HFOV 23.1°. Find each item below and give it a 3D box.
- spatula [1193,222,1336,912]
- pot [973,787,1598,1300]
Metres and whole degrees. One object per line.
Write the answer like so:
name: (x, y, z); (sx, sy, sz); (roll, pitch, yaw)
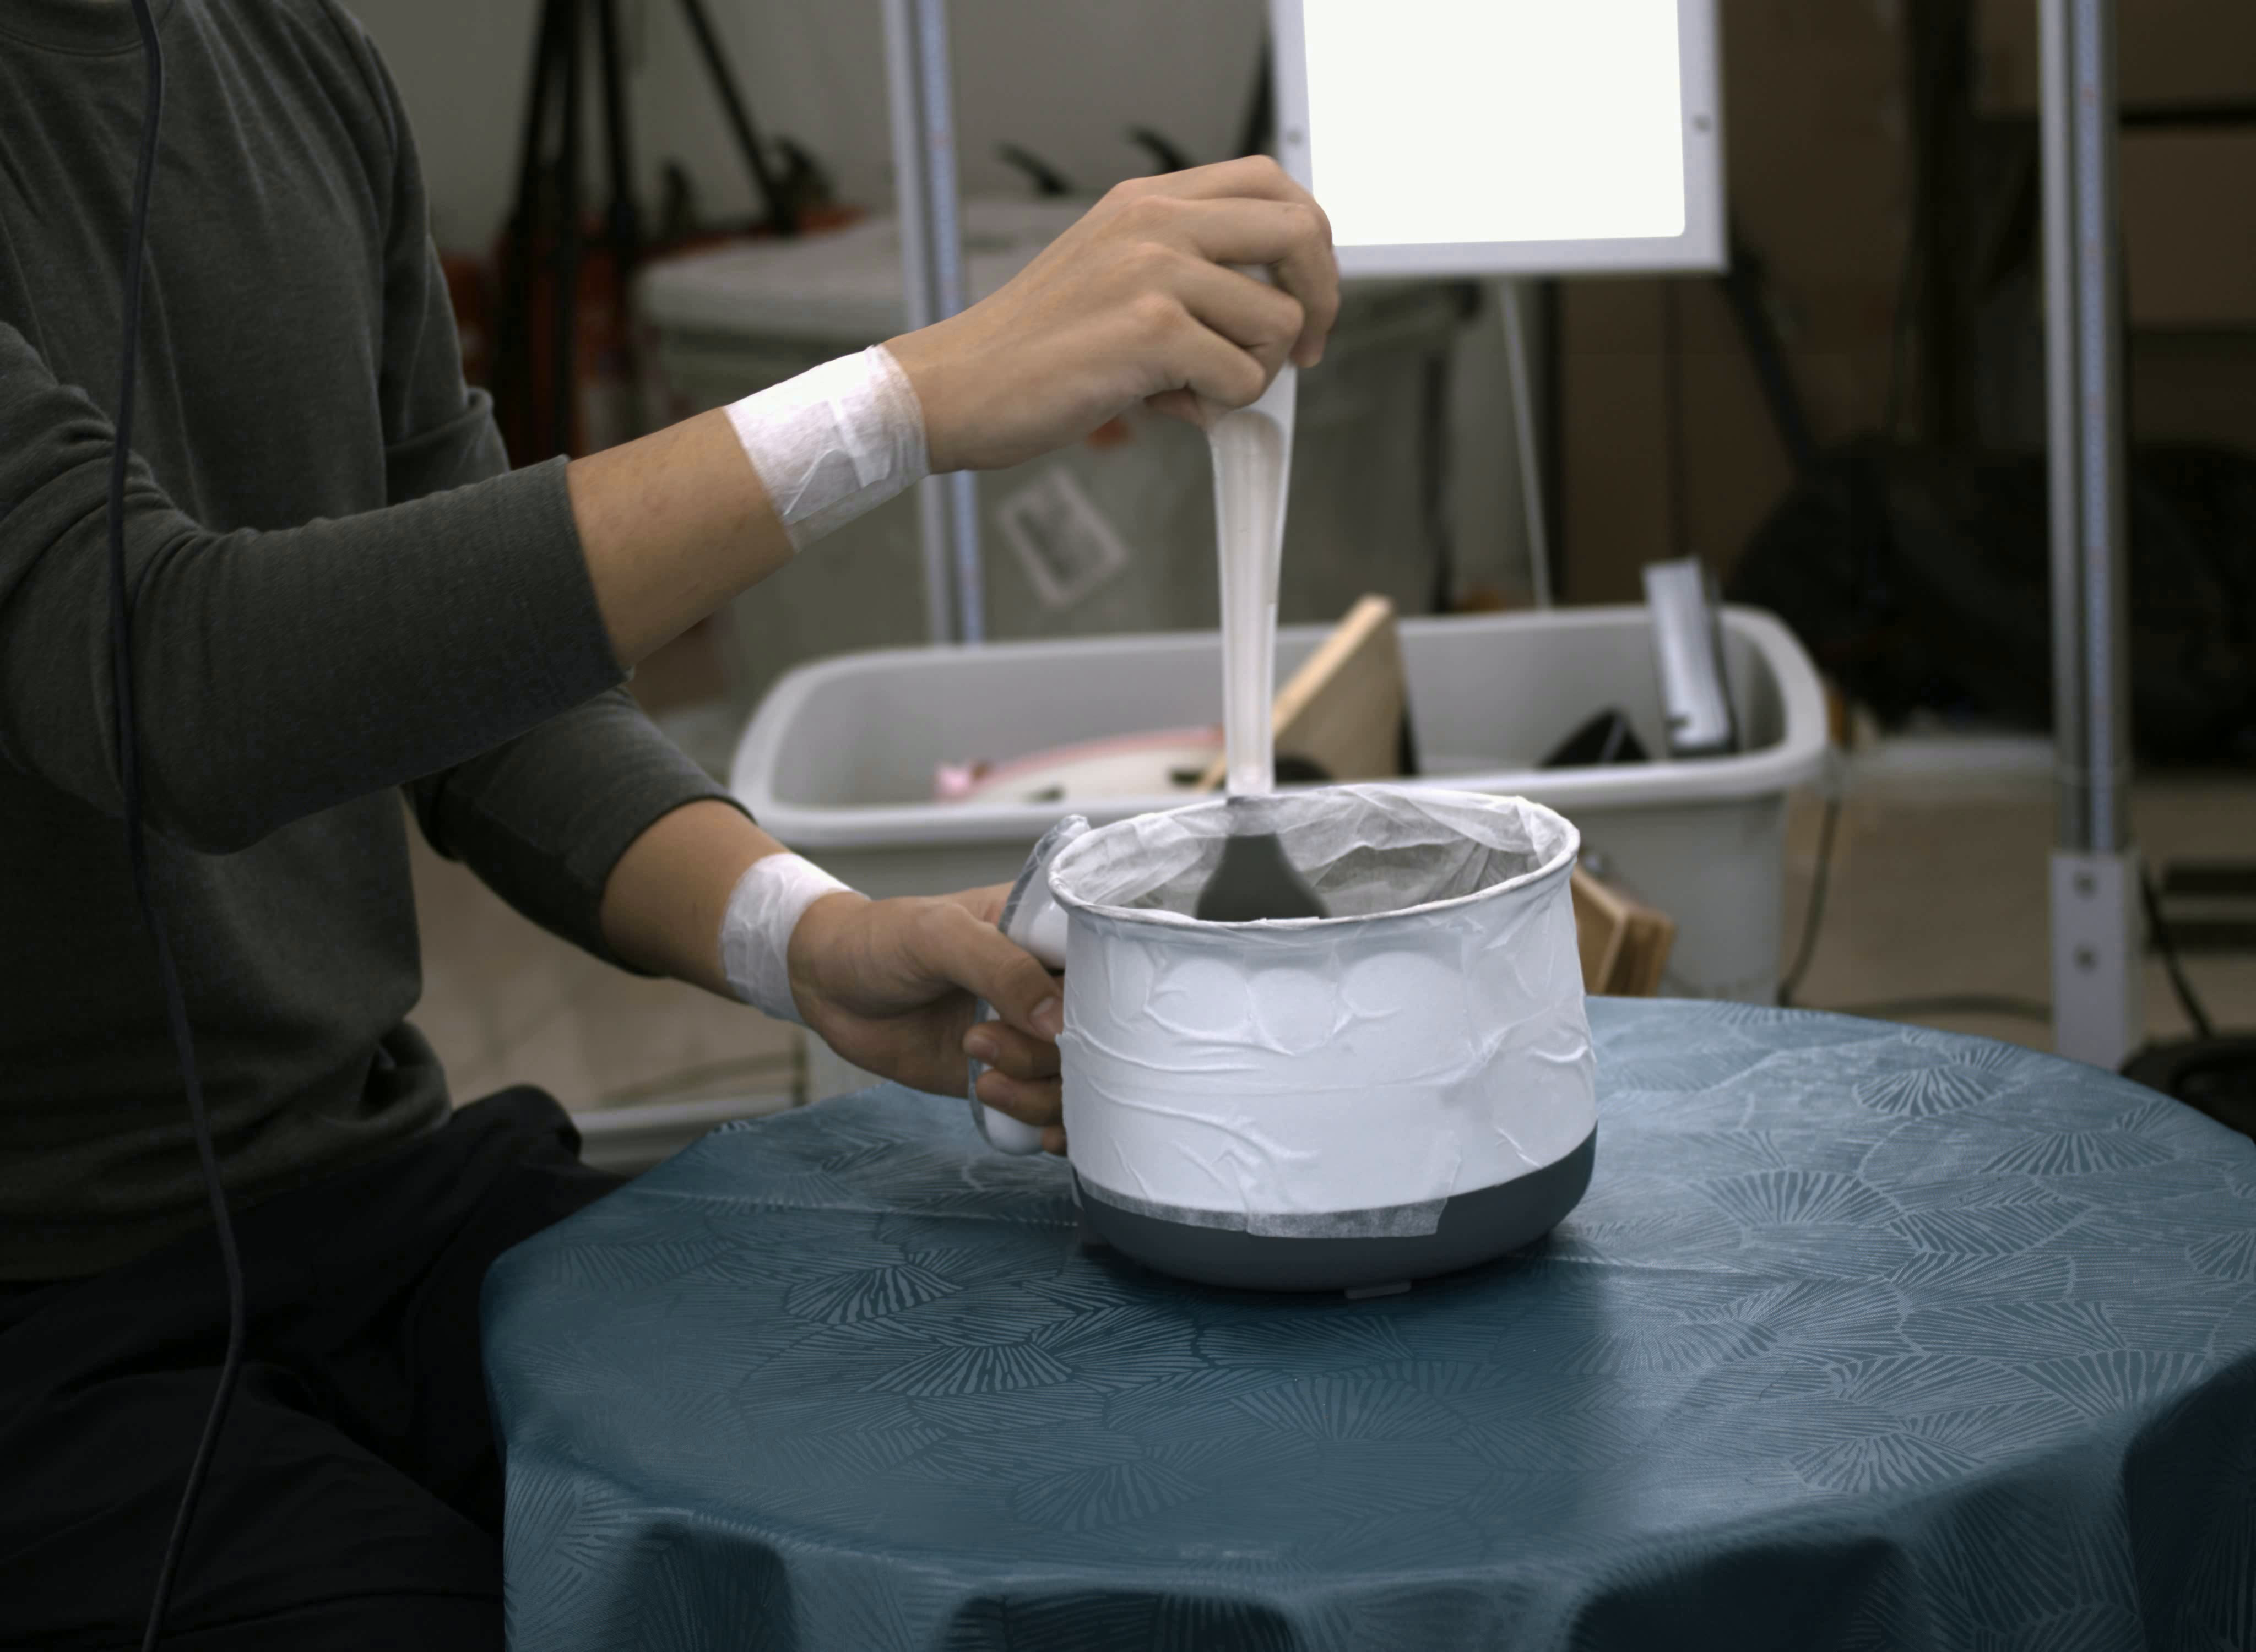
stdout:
spatula: (0.045, -0.048, 1.760); (0.059, 0.289, 0.031); (1, 13, 22)
pot: (0.043, 0.068, 1.838); (0.238, 0.137, 0.174); (5, 17, 37)
